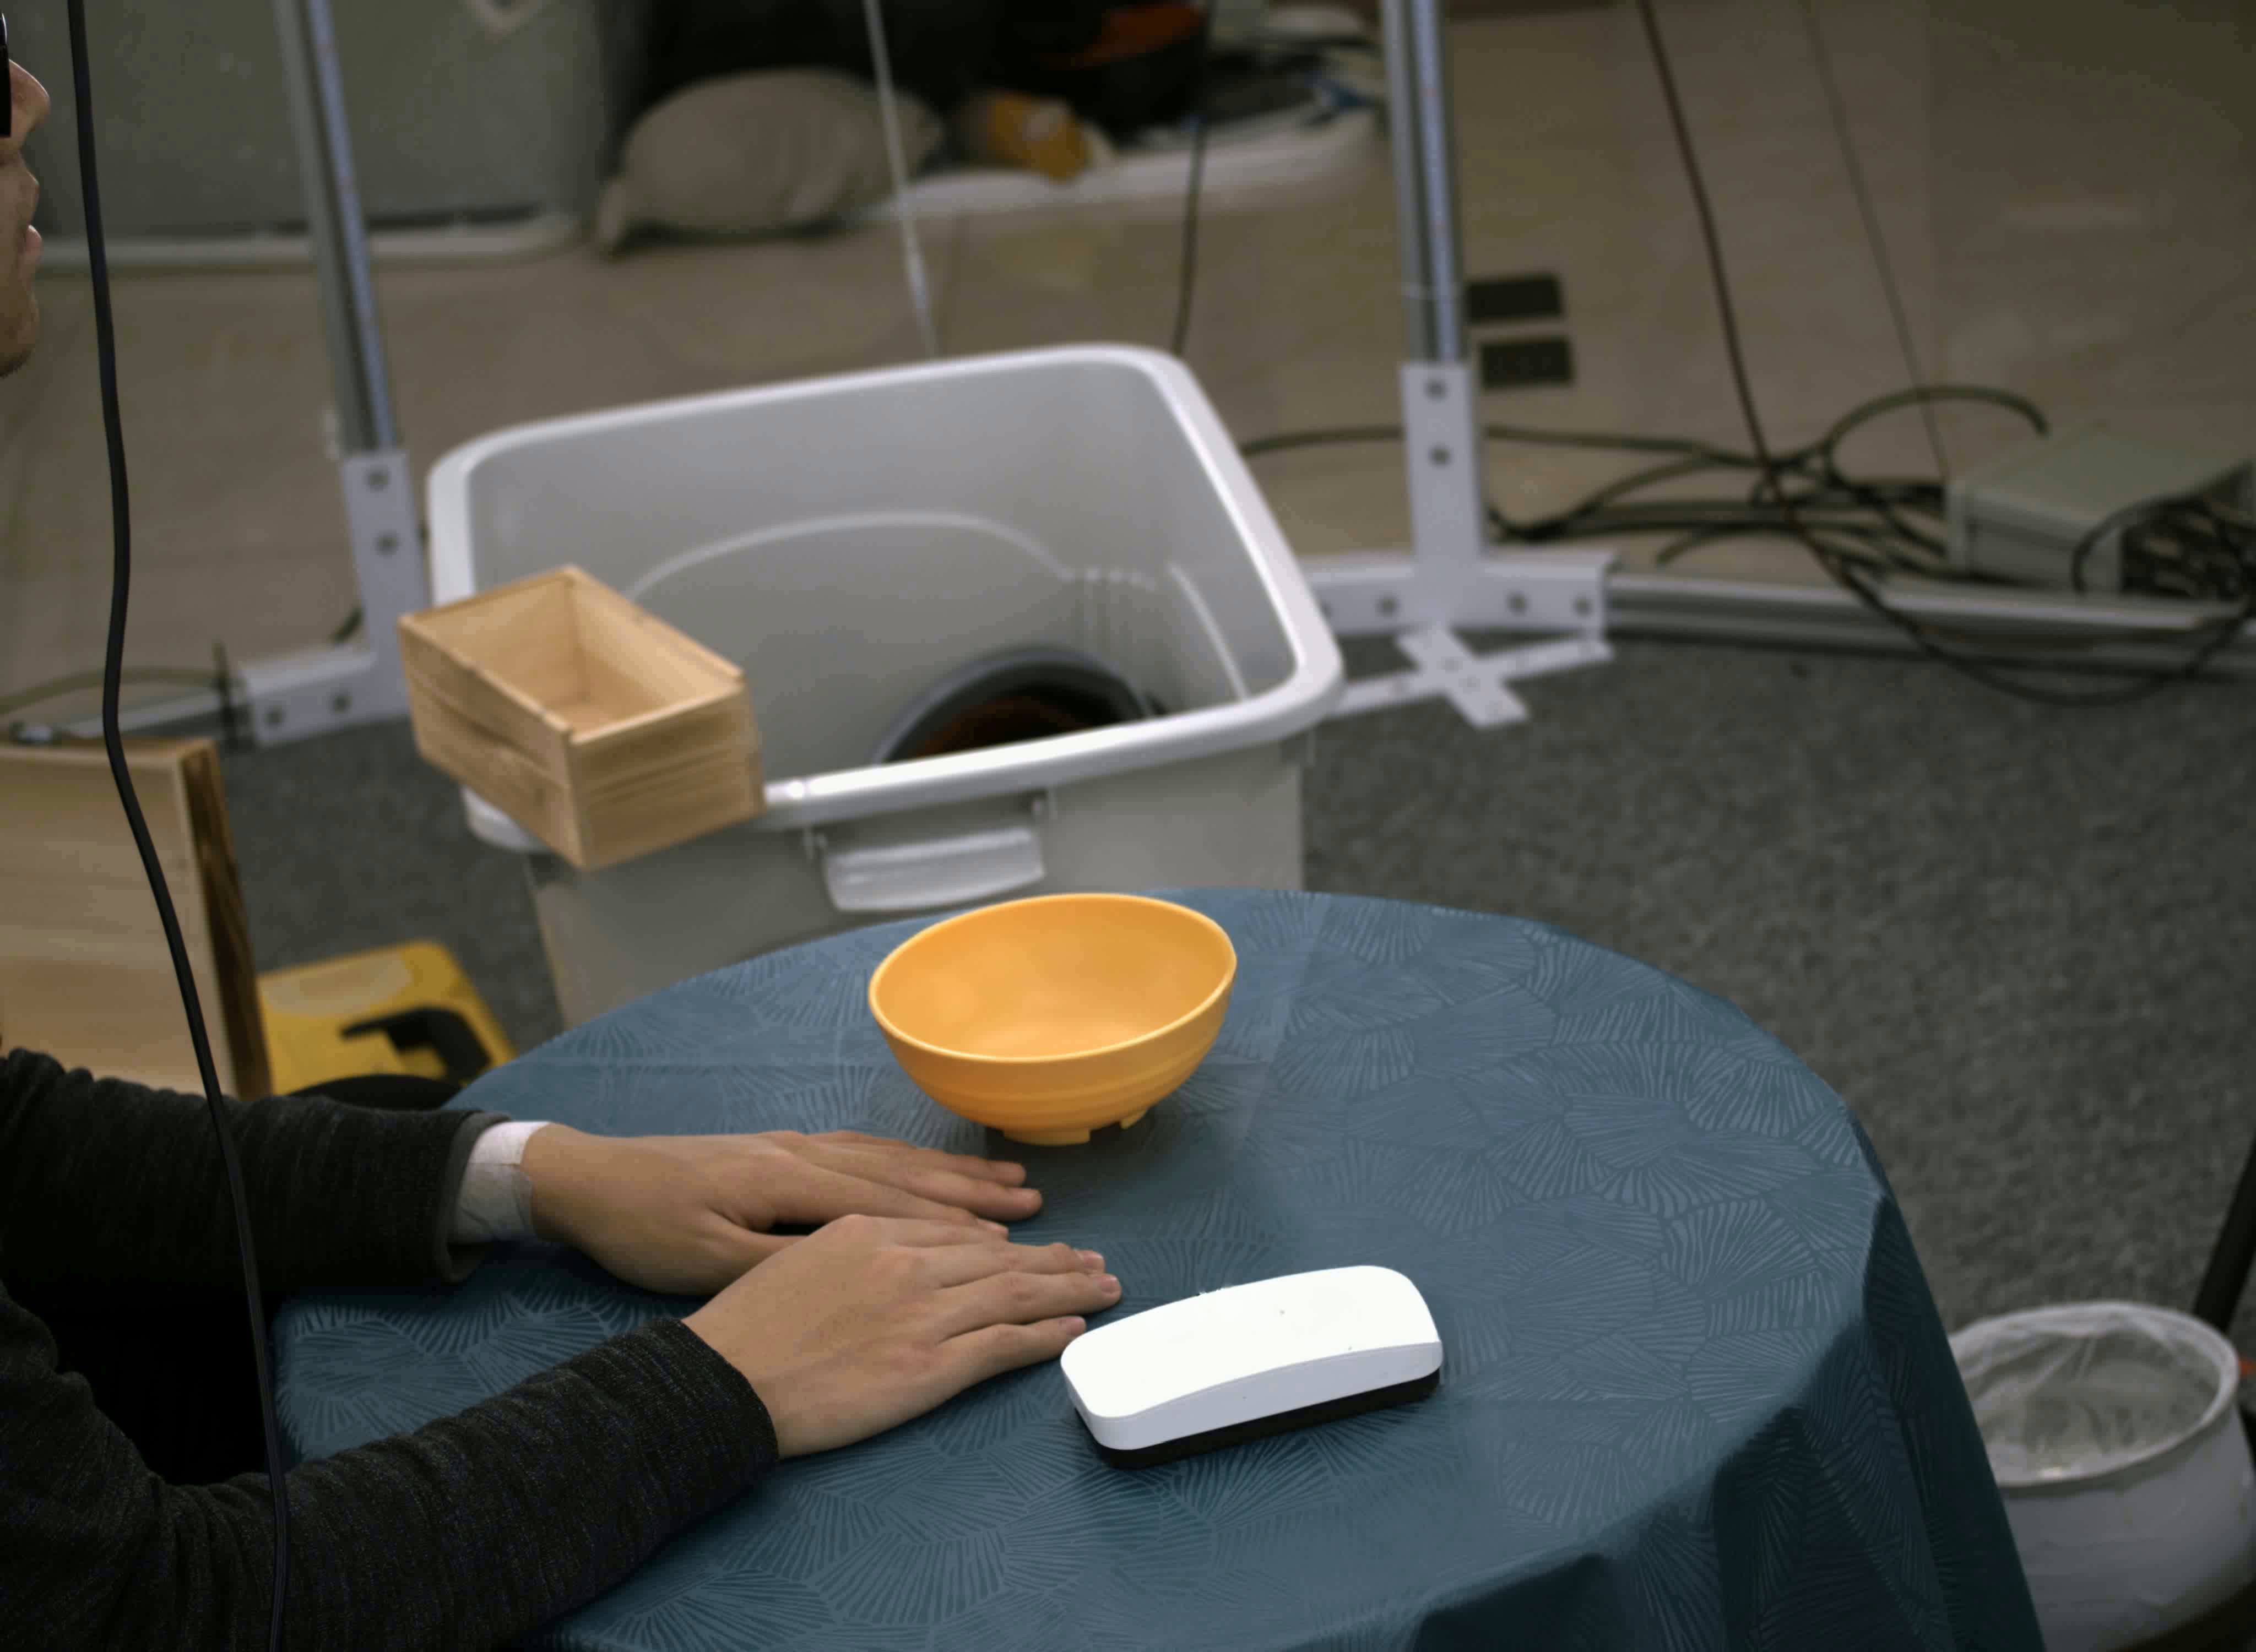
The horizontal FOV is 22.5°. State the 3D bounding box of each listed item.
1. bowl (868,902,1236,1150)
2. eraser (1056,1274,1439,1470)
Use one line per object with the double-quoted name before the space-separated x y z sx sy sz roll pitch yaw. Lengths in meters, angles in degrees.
"bowl" -0.026 0.085 2.202 0.145 0.061 0.143 -6 24 3
"eraser" 0.042 0.188 1.995 0.131 0.035 0.062 -12 25 -13
